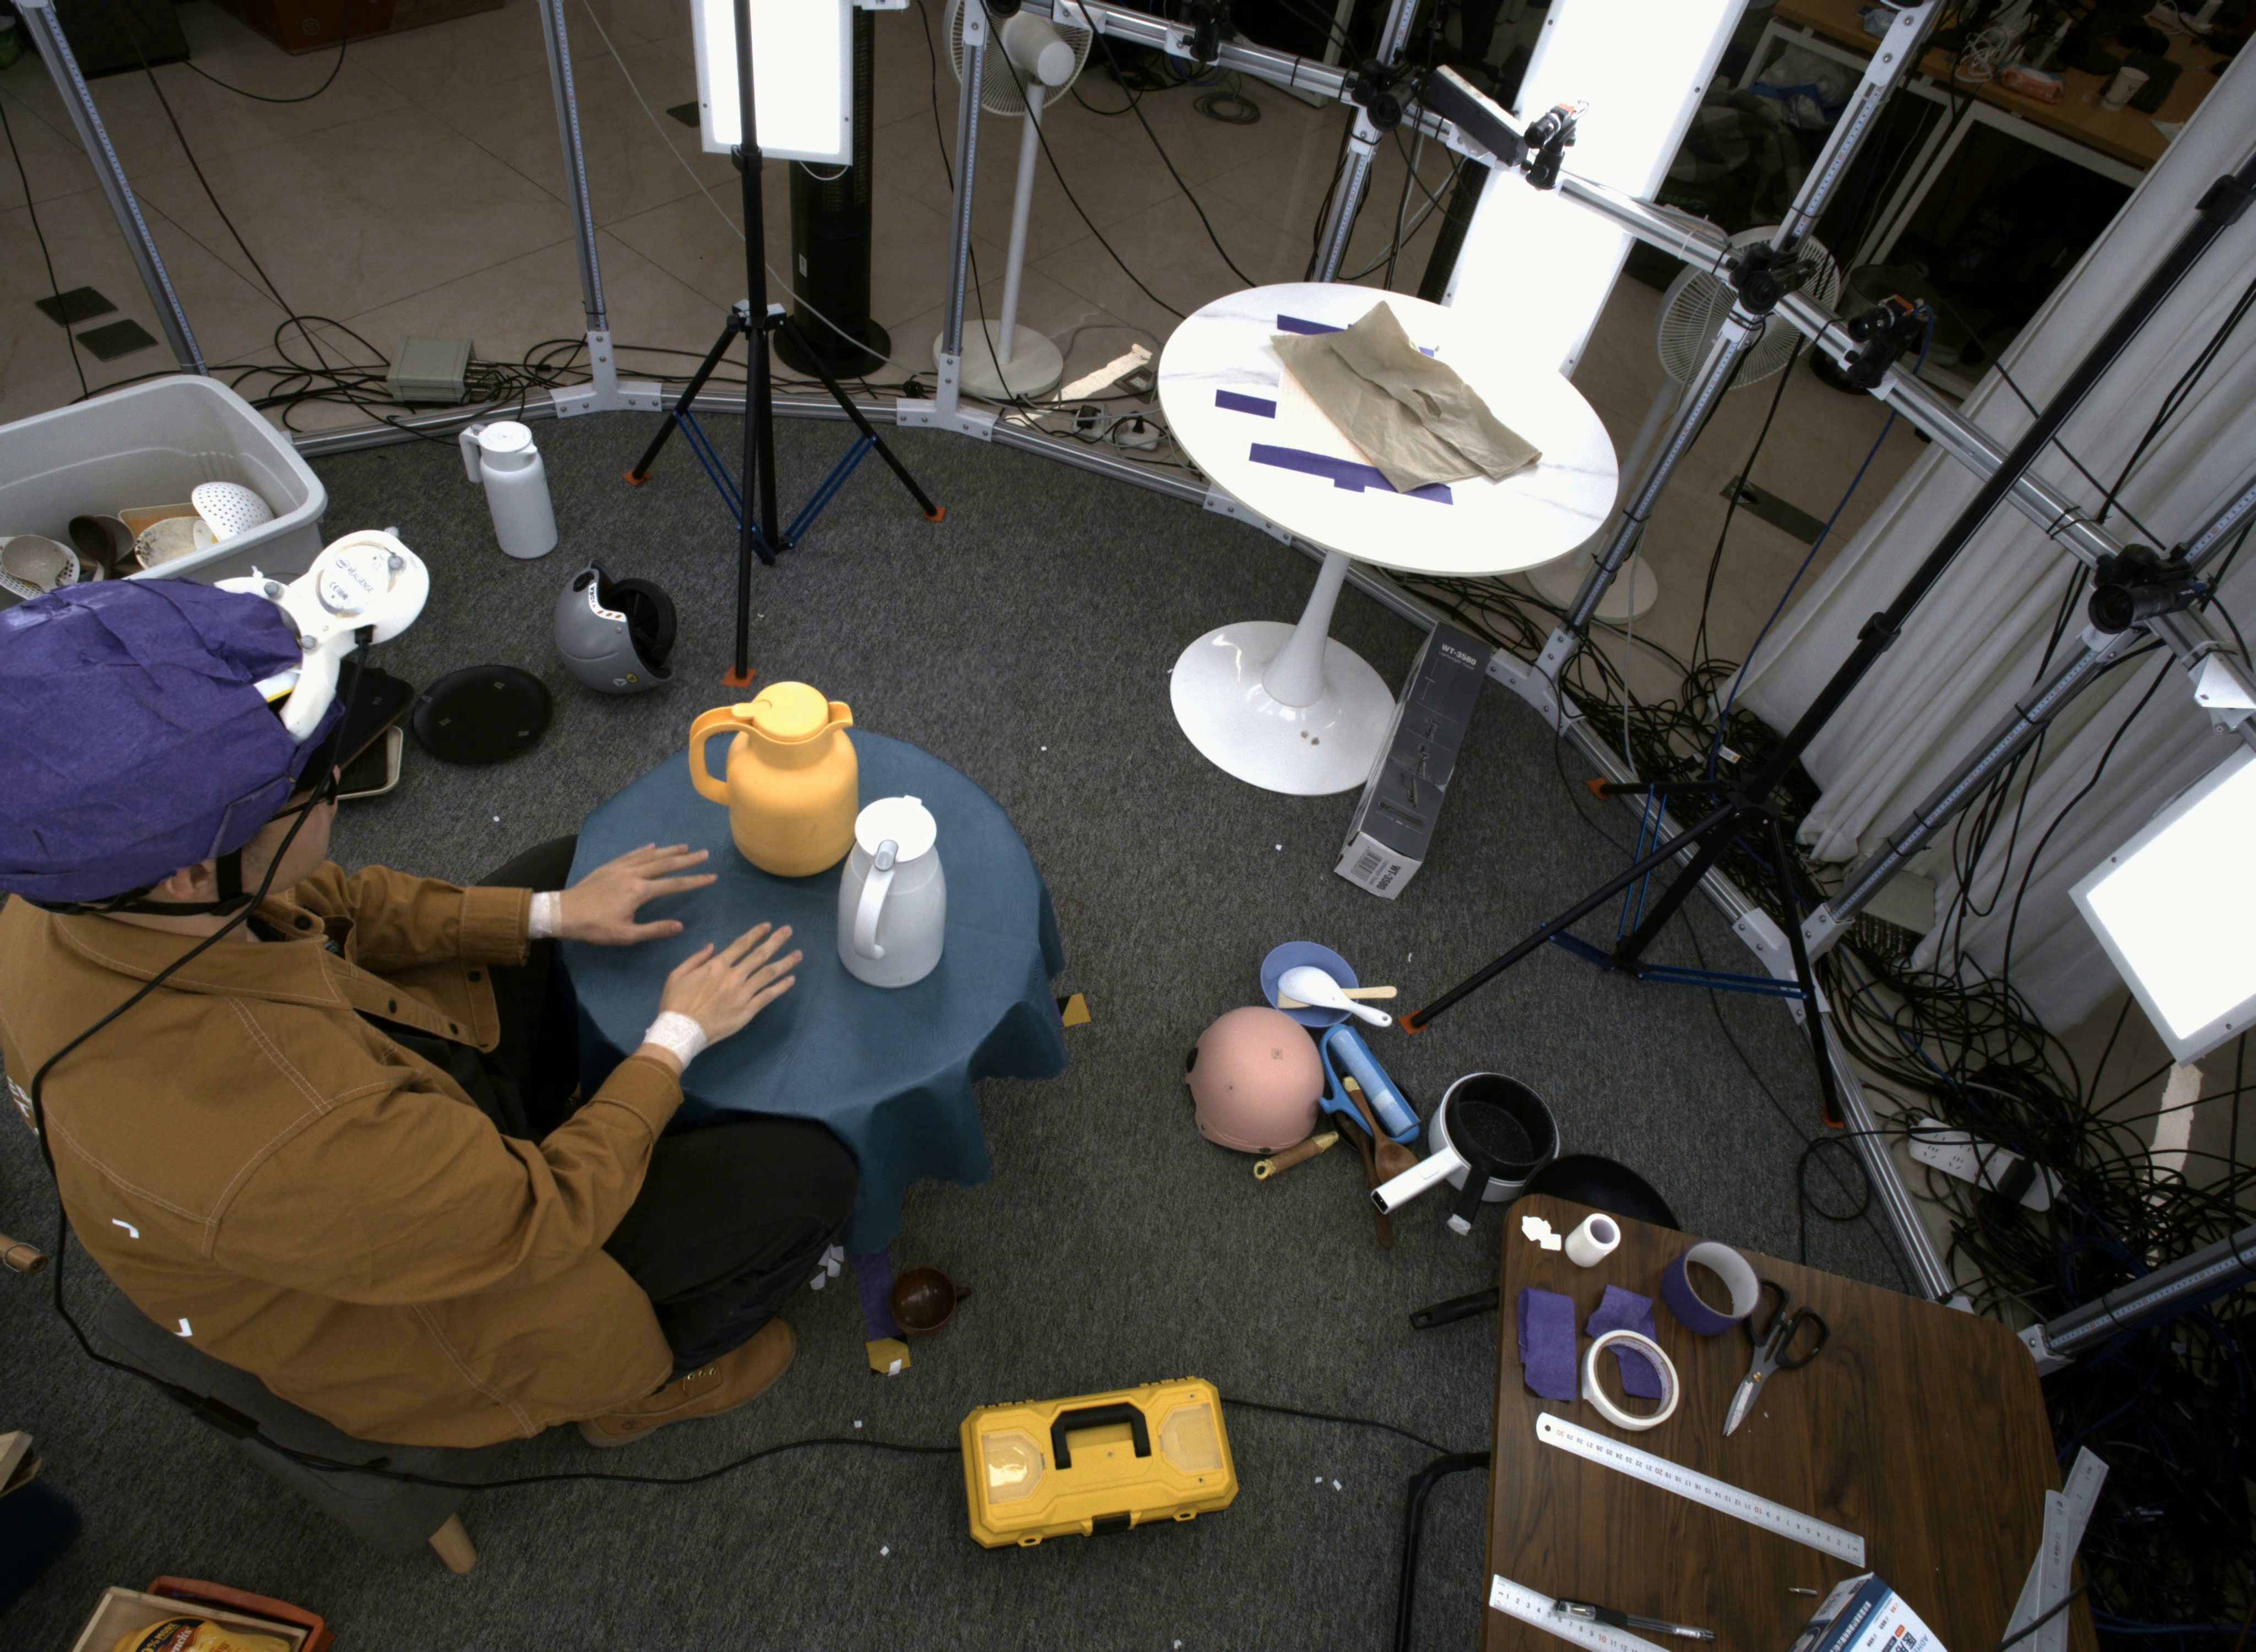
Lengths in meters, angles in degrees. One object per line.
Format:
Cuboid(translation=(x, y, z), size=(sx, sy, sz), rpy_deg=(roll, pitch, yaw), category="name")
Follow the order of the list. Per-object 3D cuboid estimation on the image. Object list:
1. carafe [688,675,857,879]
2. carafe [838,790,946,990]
Cuboid(translation=(-0.437, -0.068, 1.600), size=(0.203, 0.266, 0.159), rpy_deg=(-1, 51, -15), category="carafe")
Cuboid(translation=(-0.282, 0.085, 1.534), size=(0.131, 0.254, 0.165), rpy_deg=(15, 51, -1), category="carafe")
